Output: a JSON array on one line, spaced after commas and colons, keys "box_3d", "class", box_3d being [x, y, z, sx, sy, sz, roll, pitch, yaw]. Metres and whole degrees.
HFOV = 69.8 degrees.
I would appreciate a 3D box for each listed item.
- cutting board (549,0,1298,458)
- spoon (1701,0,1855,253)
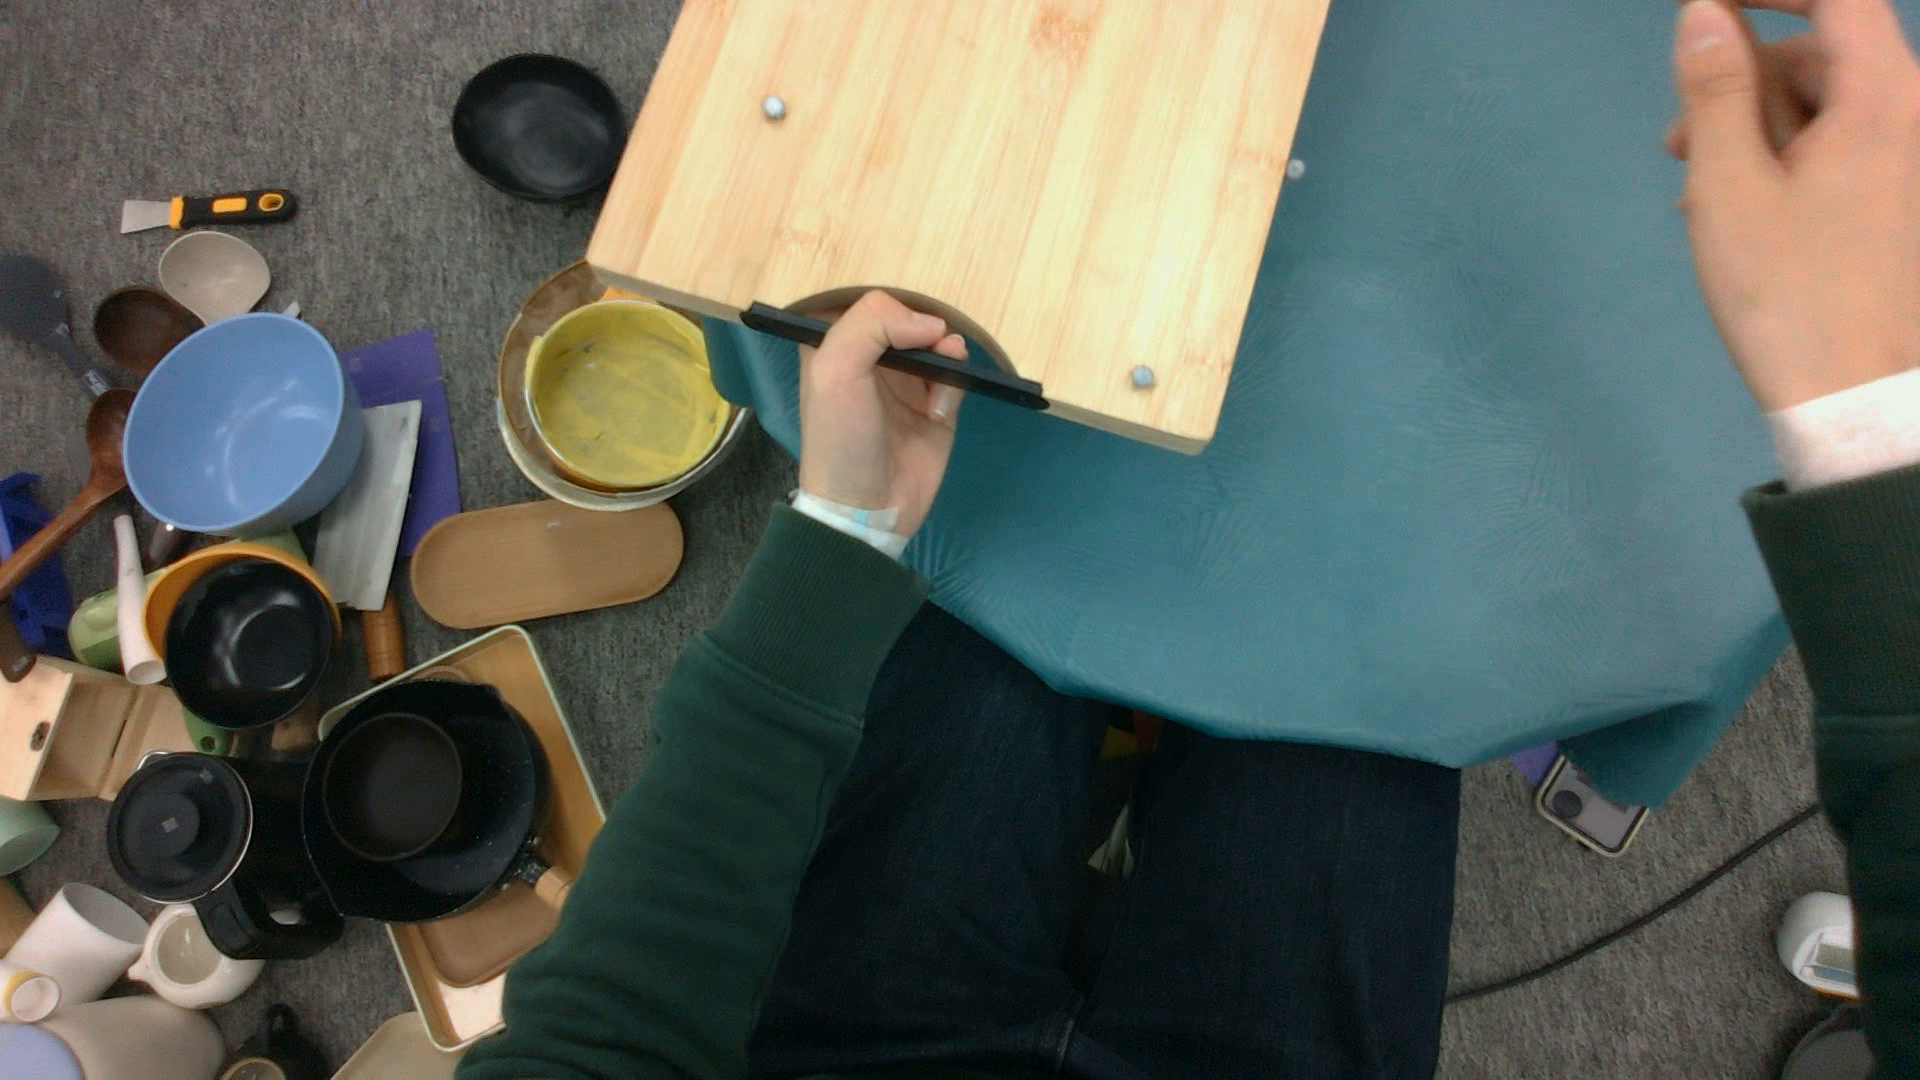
[{"box_3d": [0.012, -0.224, 0.553, 0.251, 0.023, 0.349, 15, 75, 1], "class": "cutting board"}, {"box_3d": [0.220, -0.189, 0.412, 0.075, 0.017, 0.216, -21, 82, 41], "class": "spoon"}]
